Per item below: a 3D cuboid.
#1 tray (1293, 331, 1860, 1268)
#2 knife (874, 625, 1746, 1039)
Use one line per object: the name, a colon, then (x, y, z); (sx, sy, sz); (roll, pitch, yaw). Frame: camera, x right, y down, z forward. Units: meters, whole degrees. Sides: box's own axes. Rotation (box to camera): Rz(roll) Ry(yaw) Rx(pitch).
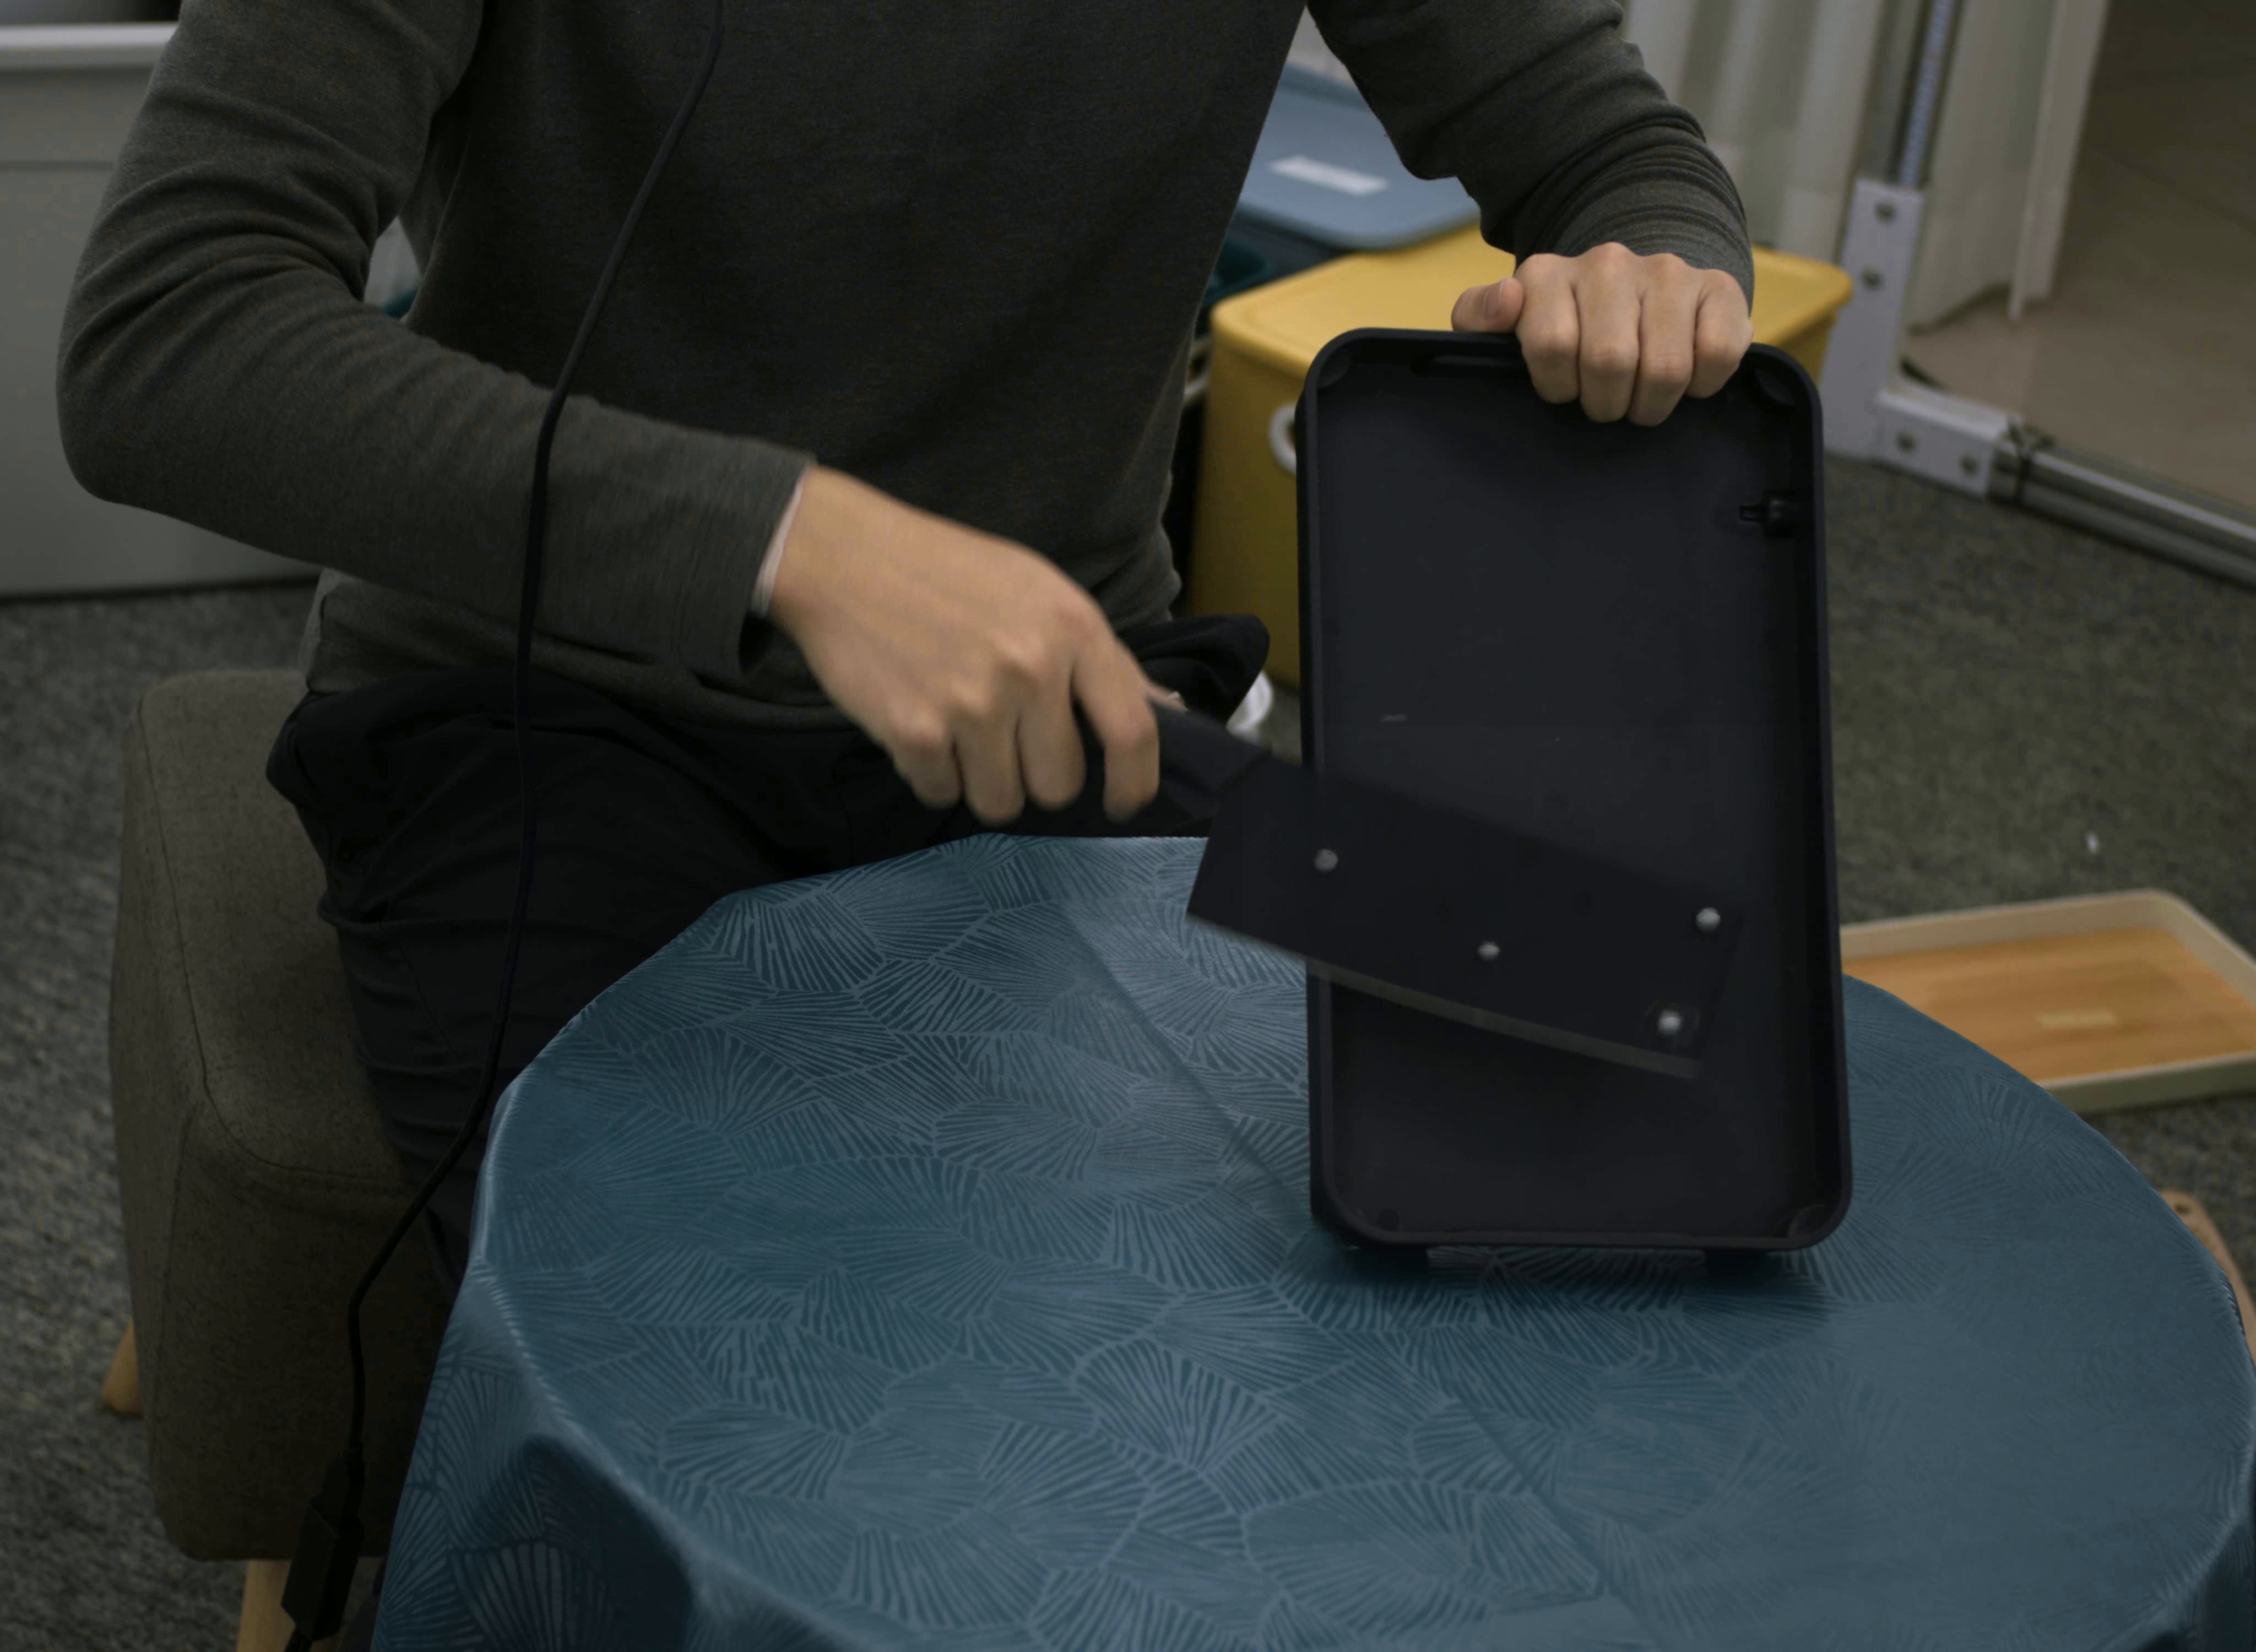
tray: (0.151, -0.008, 1.811); (0.183, 0.319, 0.037); (0, -10, -11)
knife: (0.059, -0.001, 1.784); (0.302, 0.081, 0.021); (21, -15, 3)
